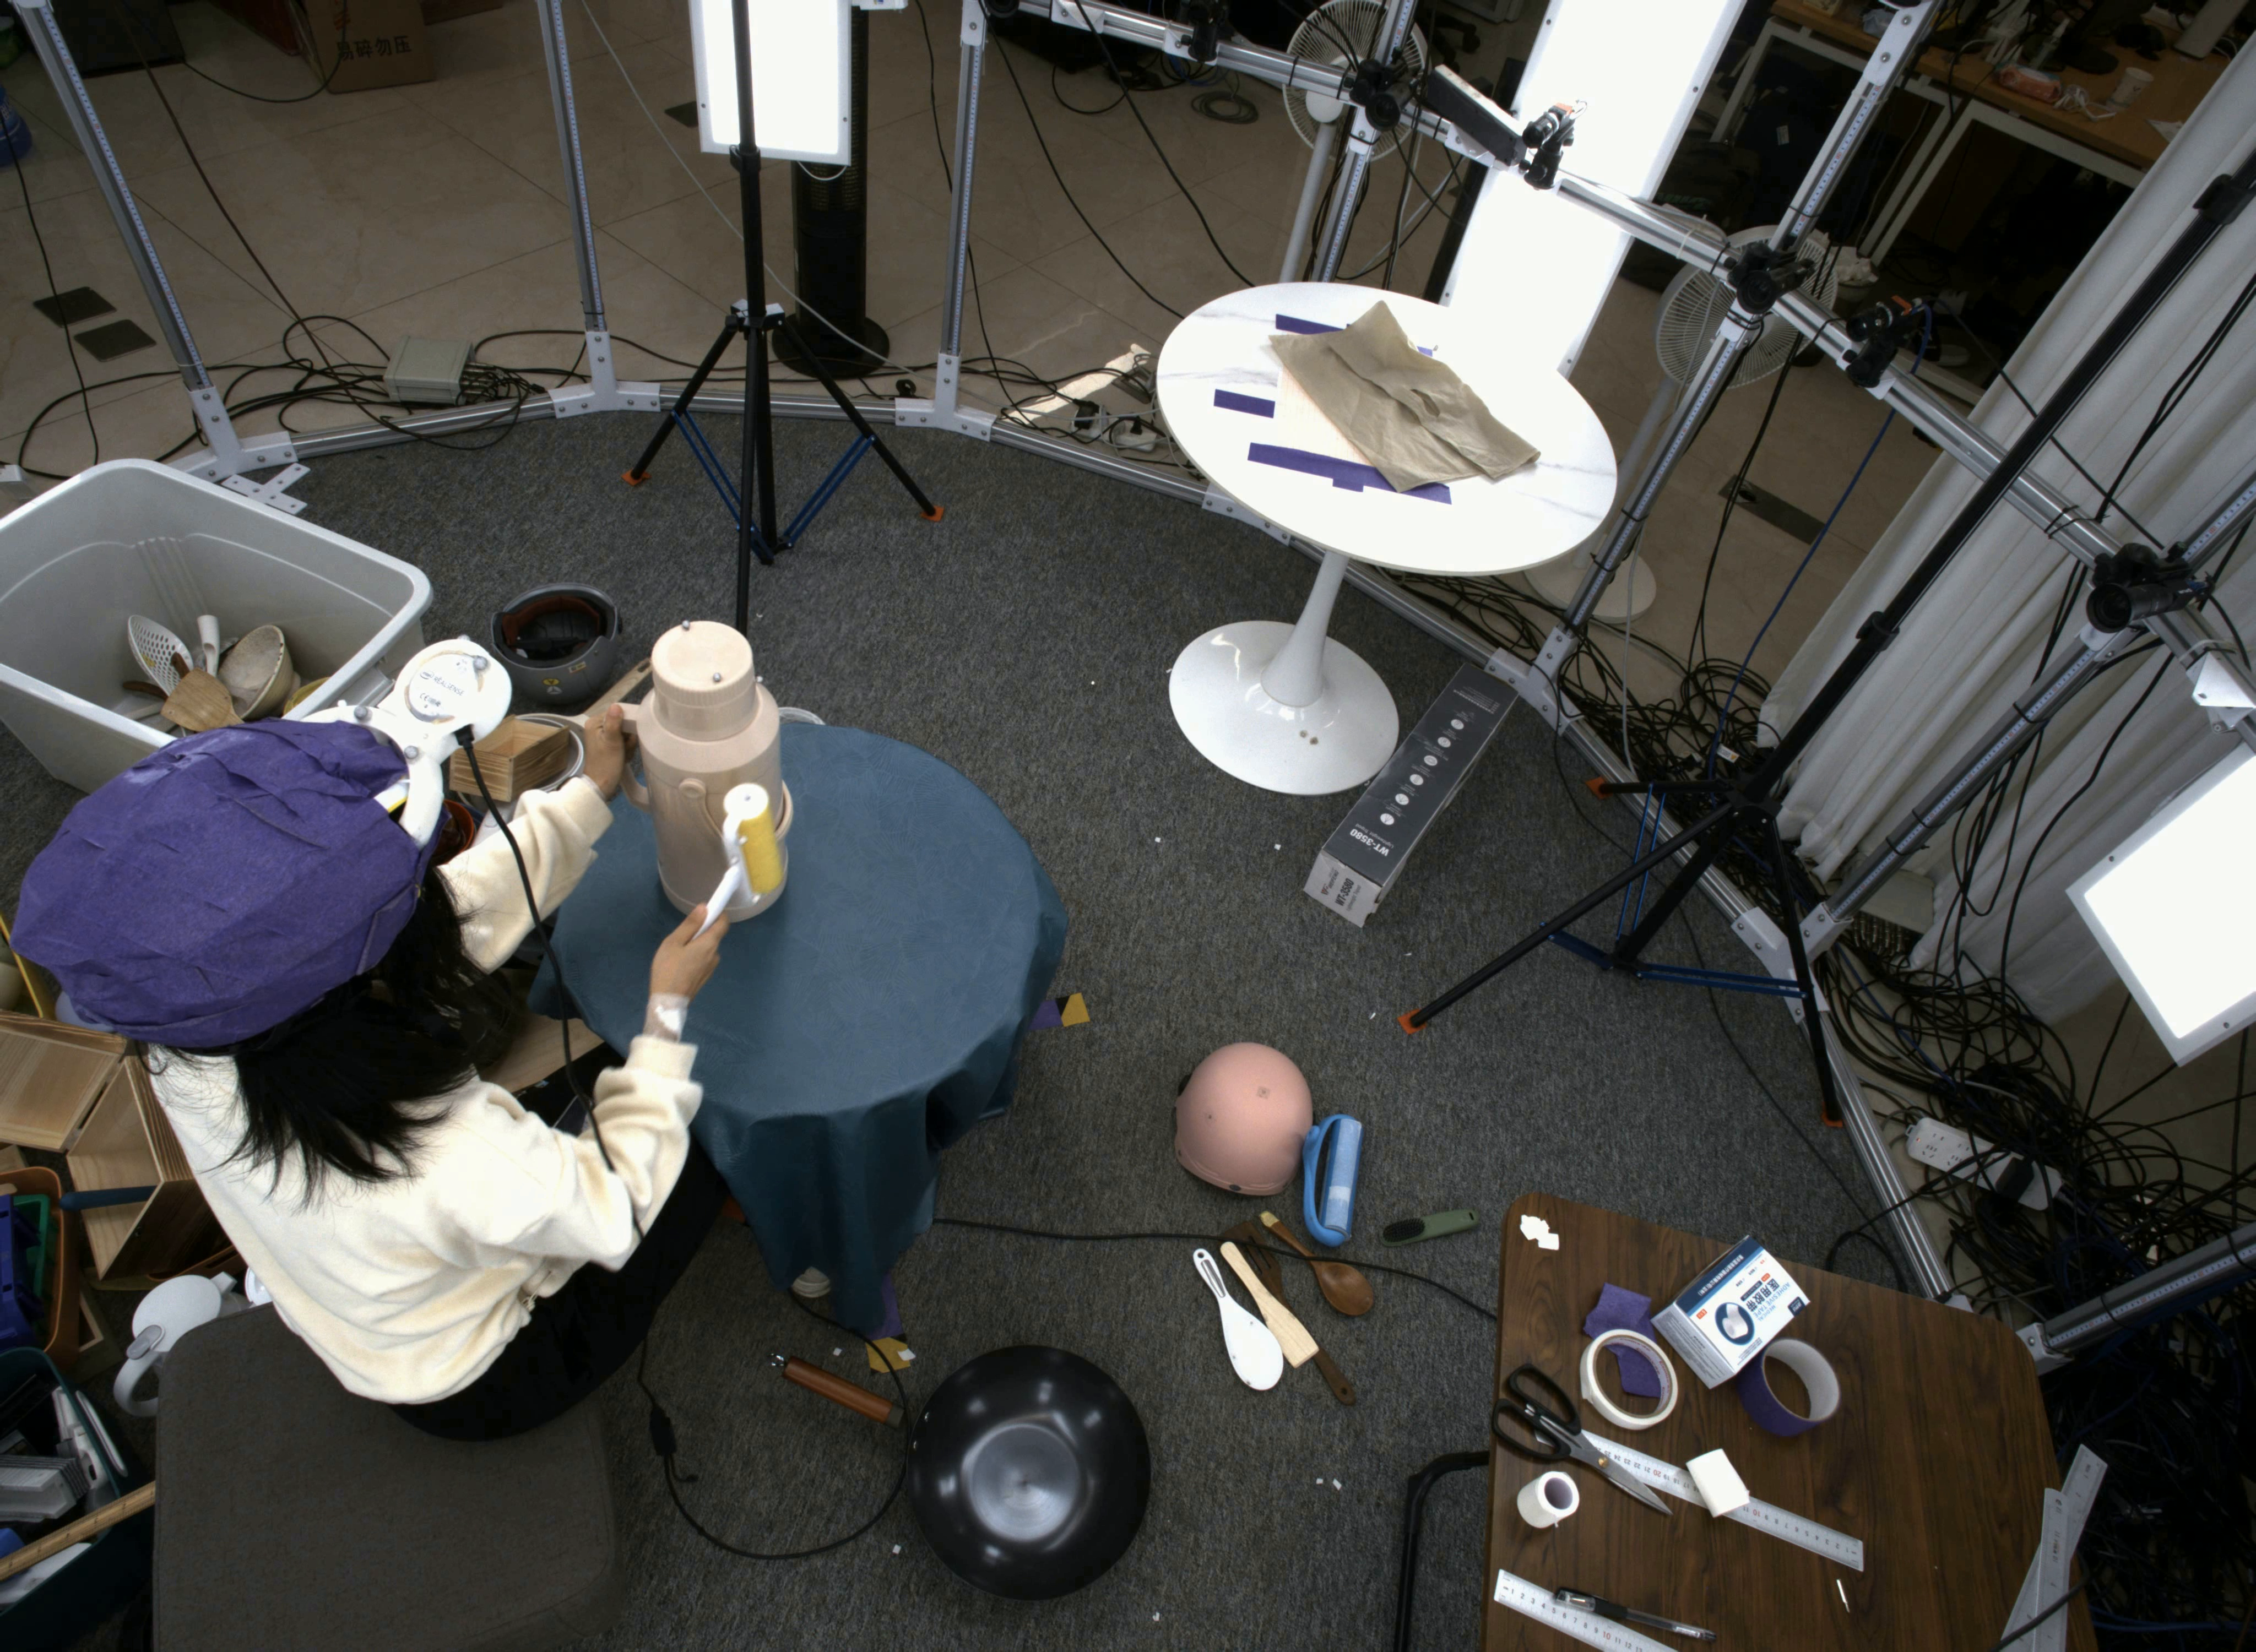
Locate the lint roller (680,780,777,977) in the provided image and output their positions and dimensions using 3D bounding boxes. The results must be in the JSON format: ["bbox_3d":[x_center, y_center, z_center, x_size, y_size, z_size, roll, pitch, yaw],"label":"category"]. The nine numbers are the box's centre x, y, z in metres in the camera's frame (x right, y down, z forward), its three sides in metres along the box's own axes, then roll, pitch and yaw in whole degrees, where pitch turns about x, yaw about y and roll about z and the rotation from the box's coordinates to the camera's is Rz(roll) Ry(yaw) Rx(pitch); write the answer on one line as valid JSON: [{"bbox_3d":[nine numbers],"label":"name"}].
[{"bbox_3d":[-0.431,0.075,1.388,0.051,0.178,0.189,8,58,-2],"label":"lint roller"}]

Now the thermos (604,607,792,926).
[{"bbox_3d":[-0.497,-0.067,1.493,0.206,0.415,0.172,6,52,-7],"label":"thermos"}]
